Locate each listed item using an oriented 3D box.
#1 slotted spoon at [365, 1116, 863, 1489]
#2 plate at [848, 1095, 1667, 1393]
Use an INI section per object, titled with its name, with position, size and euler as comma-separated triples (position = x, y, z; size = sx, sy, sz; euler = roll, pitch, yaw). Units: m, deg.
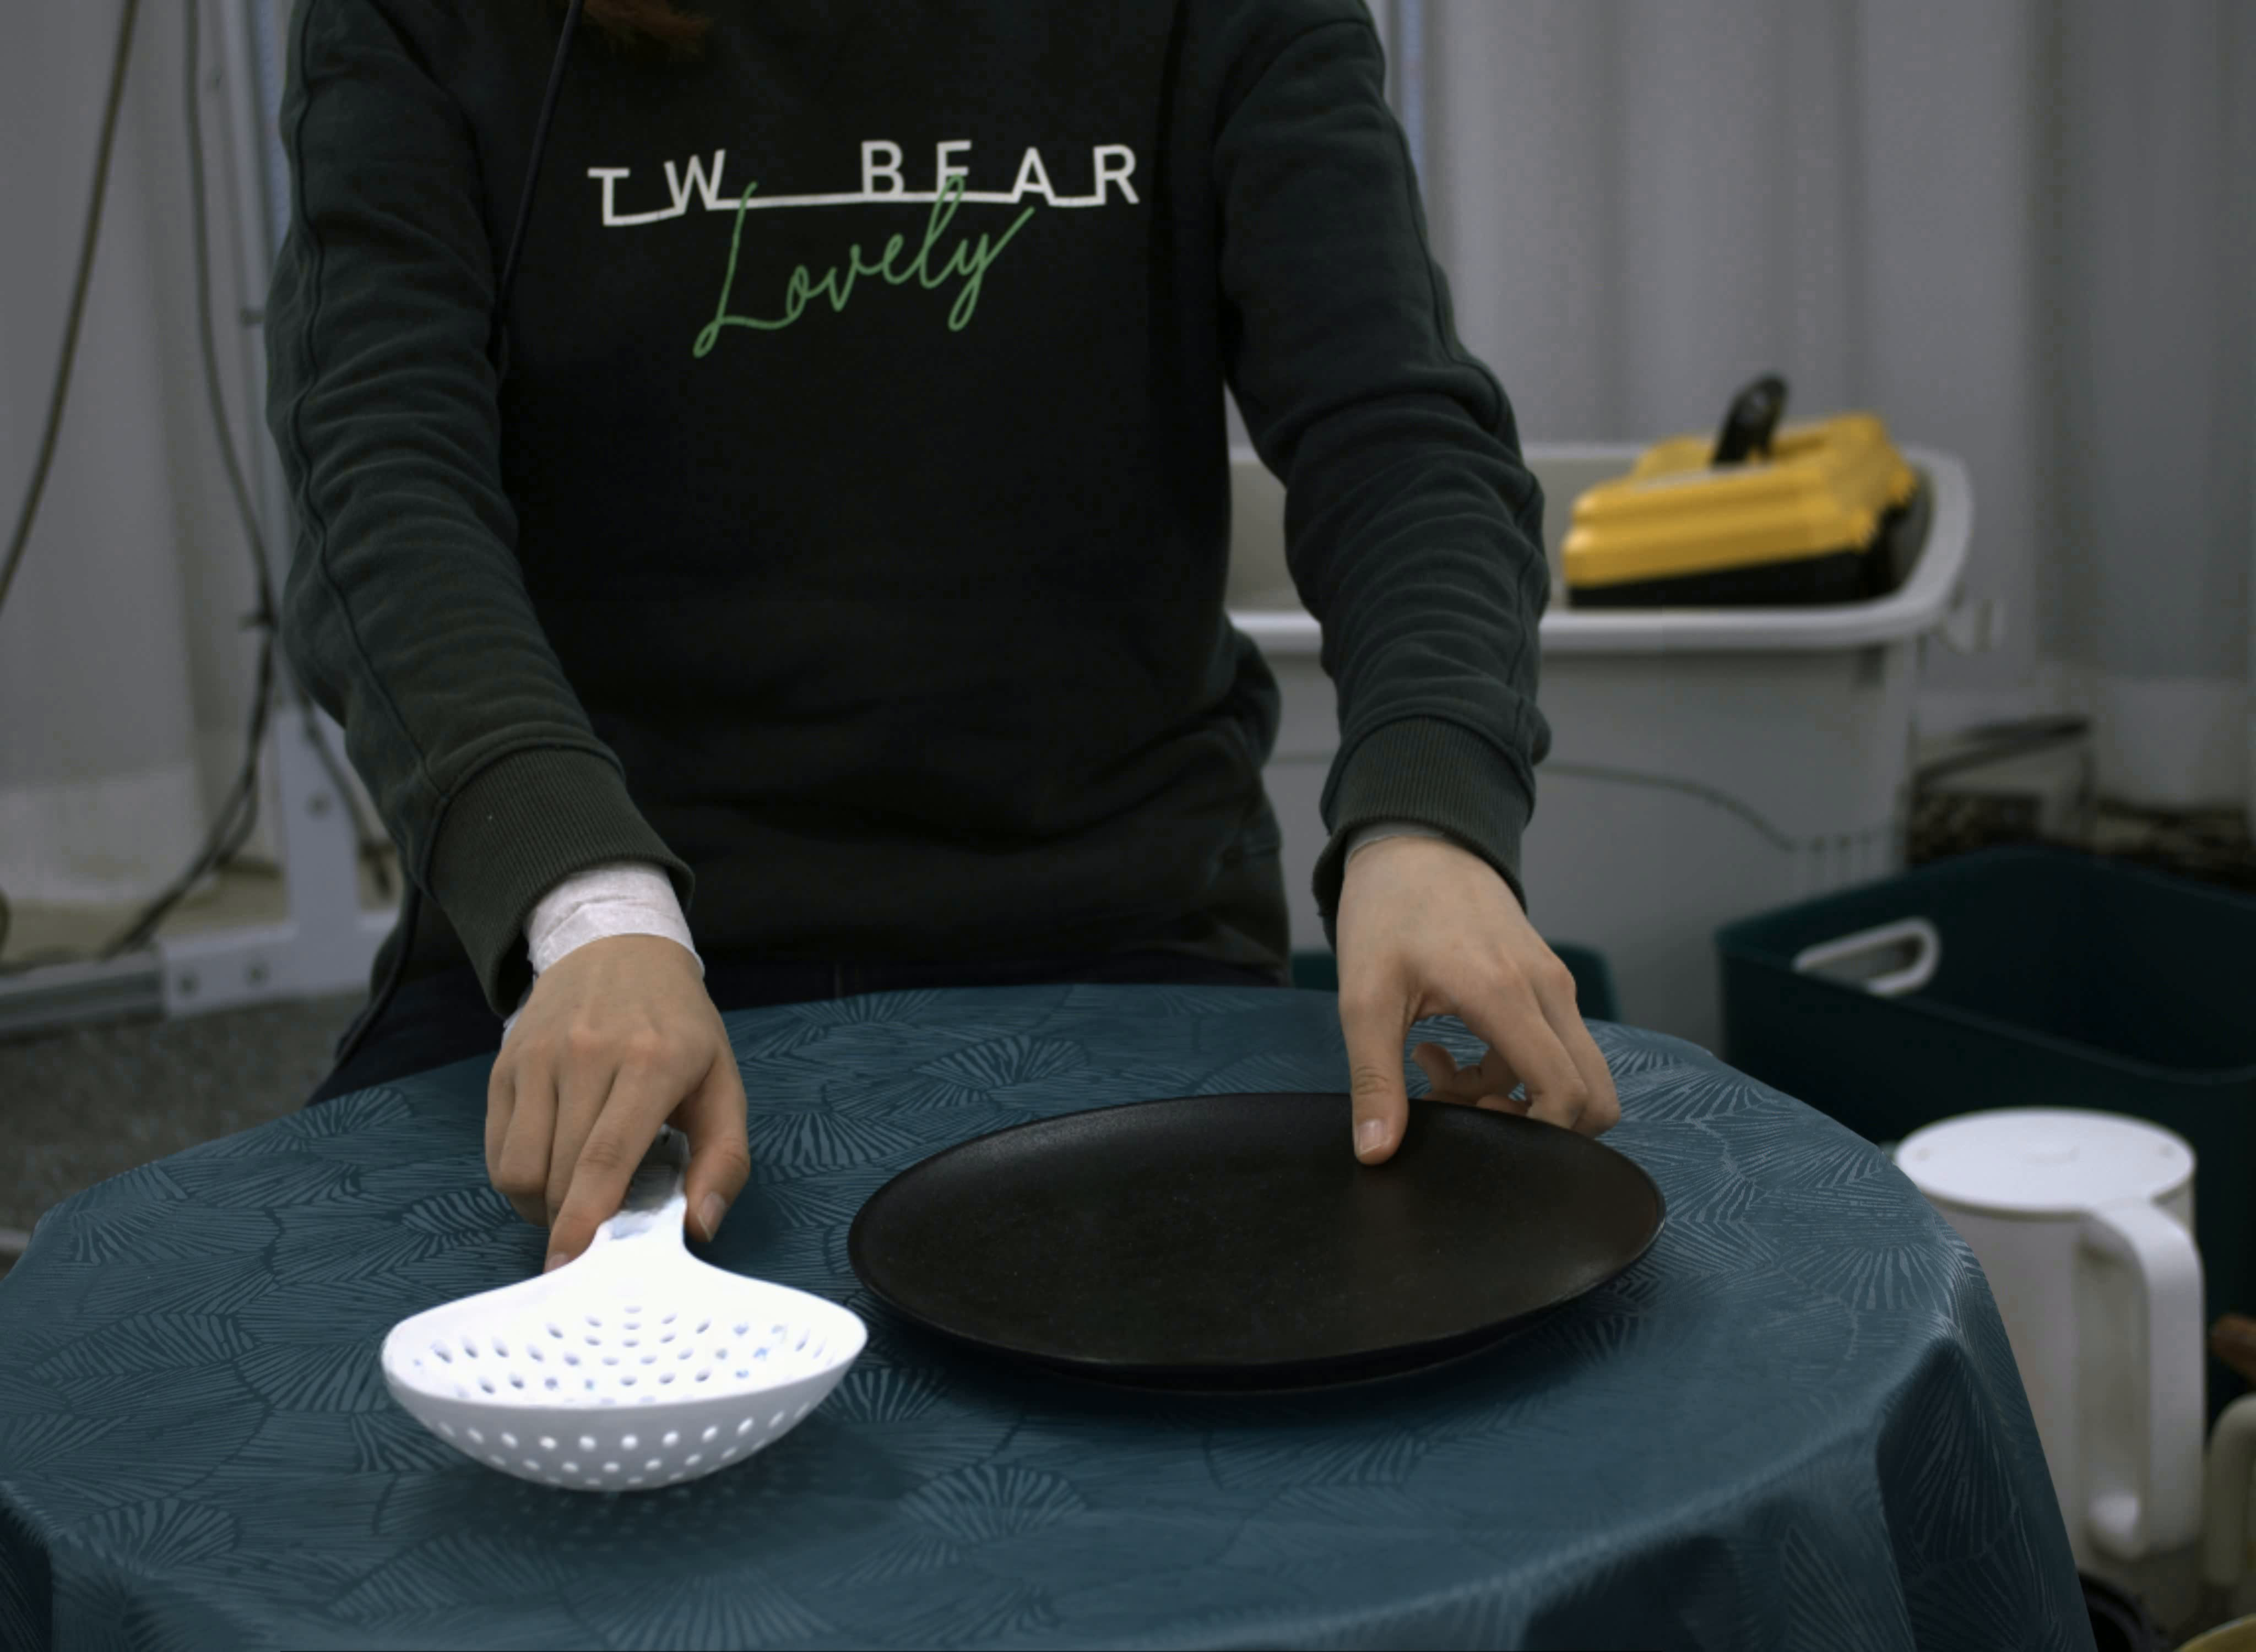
[slotted spoon]
position = -0.144, 0.130, 1.598
size = 0.135, 0.045, 0.352
euler = 0, 14, -2
[plate]
position = 0.038, 0.126, 1.620
size = 0.243, 0.023, 0.246
euler = -3, 15, 0
